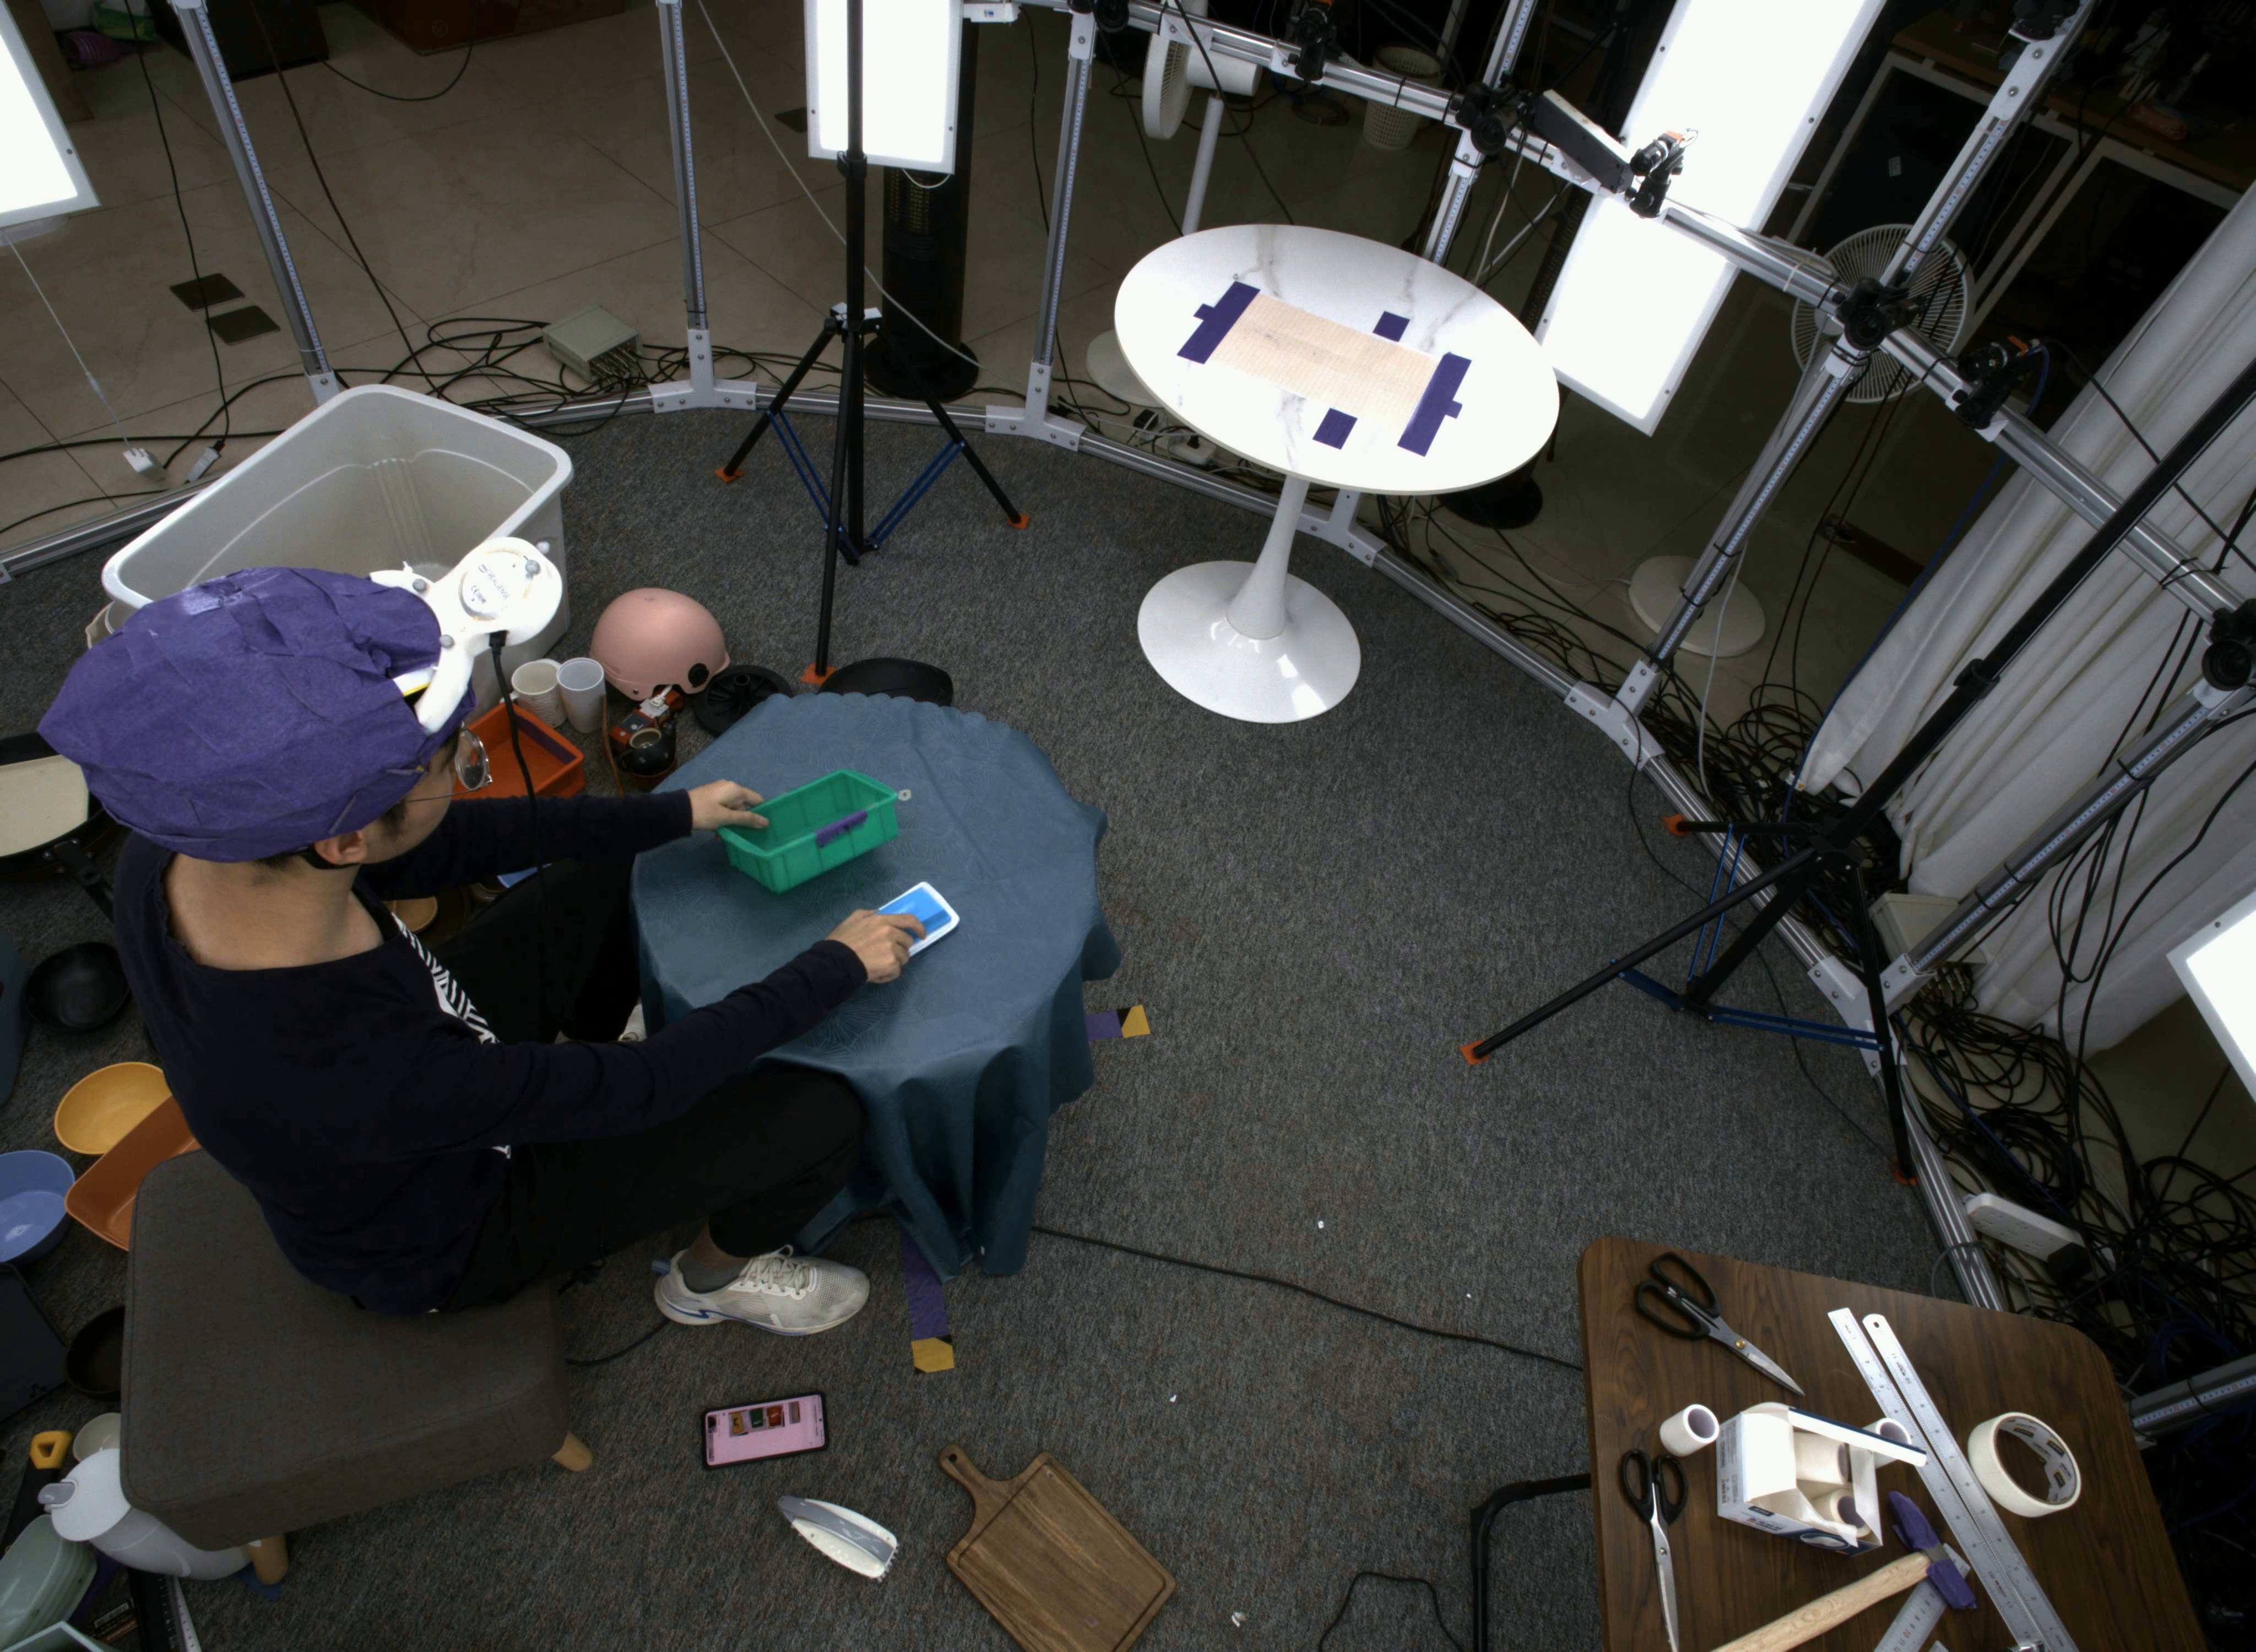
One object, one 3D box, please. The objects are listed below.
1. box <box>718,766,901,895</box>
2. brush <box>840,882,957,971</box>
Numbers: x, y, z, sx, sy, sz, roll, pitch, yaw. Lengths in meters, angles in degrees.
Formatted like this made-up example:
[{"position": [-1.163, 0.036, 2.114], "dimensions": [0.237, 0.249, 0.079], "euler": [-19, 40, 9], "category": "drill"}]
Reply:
[{"position": [-0.399, 0.004, 1.650], "dimensions": [0.211, 0.067, 0.133], "euler": [-30, 39, -35], "category": "box"}, {"position": [-0.284, 0.116, 1.625], "dimensions": [0.145, 0.056, 0.082], "euler": [-28, 68, -40], "category": "brush"}]
